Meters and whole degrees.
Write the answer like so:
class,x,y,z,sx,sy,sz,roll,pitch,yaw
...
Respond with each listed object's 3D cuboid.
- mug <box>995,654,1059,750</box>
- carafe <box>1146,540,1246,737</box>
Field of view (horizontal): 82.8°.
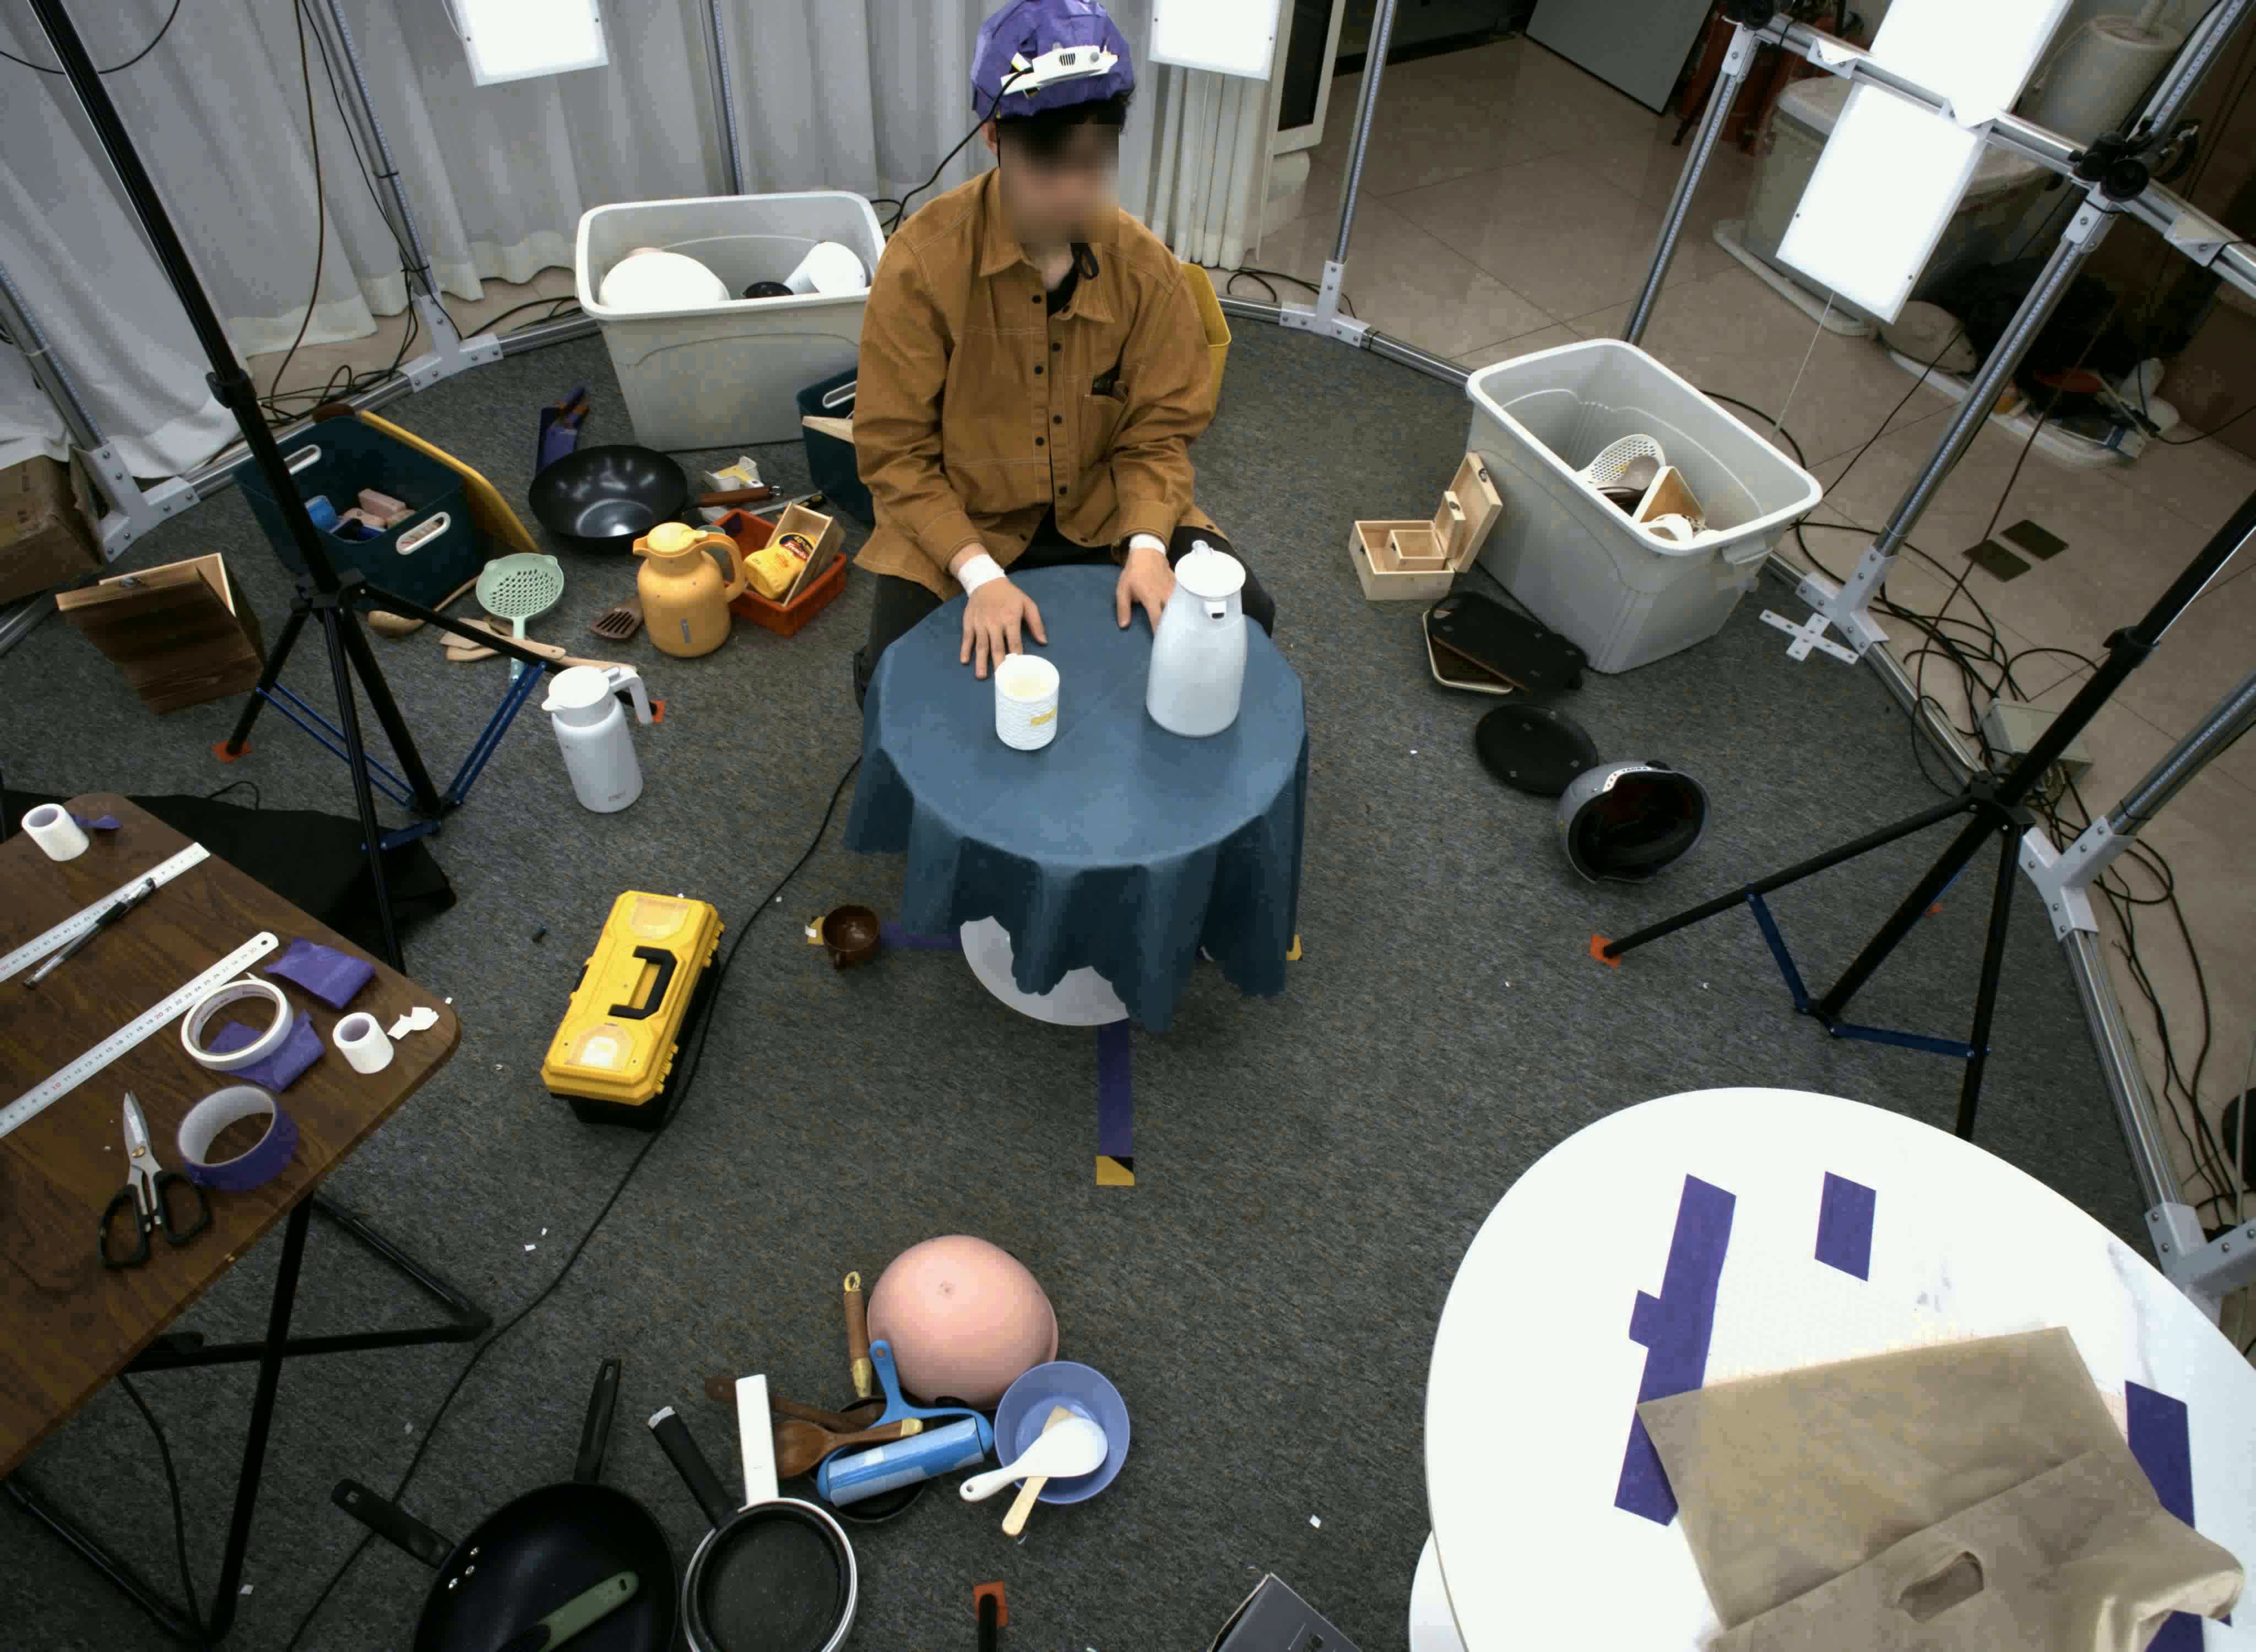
class,x,y,z,sx,sy,sz,roll,pitch,yaw
mug,-0.143,-0.177,1.748,0.085,0.099,0.121,-15,51,-17
carafe,0.093,-0.266,1.746,0.132,0.242,0.172,-6,50,-8
